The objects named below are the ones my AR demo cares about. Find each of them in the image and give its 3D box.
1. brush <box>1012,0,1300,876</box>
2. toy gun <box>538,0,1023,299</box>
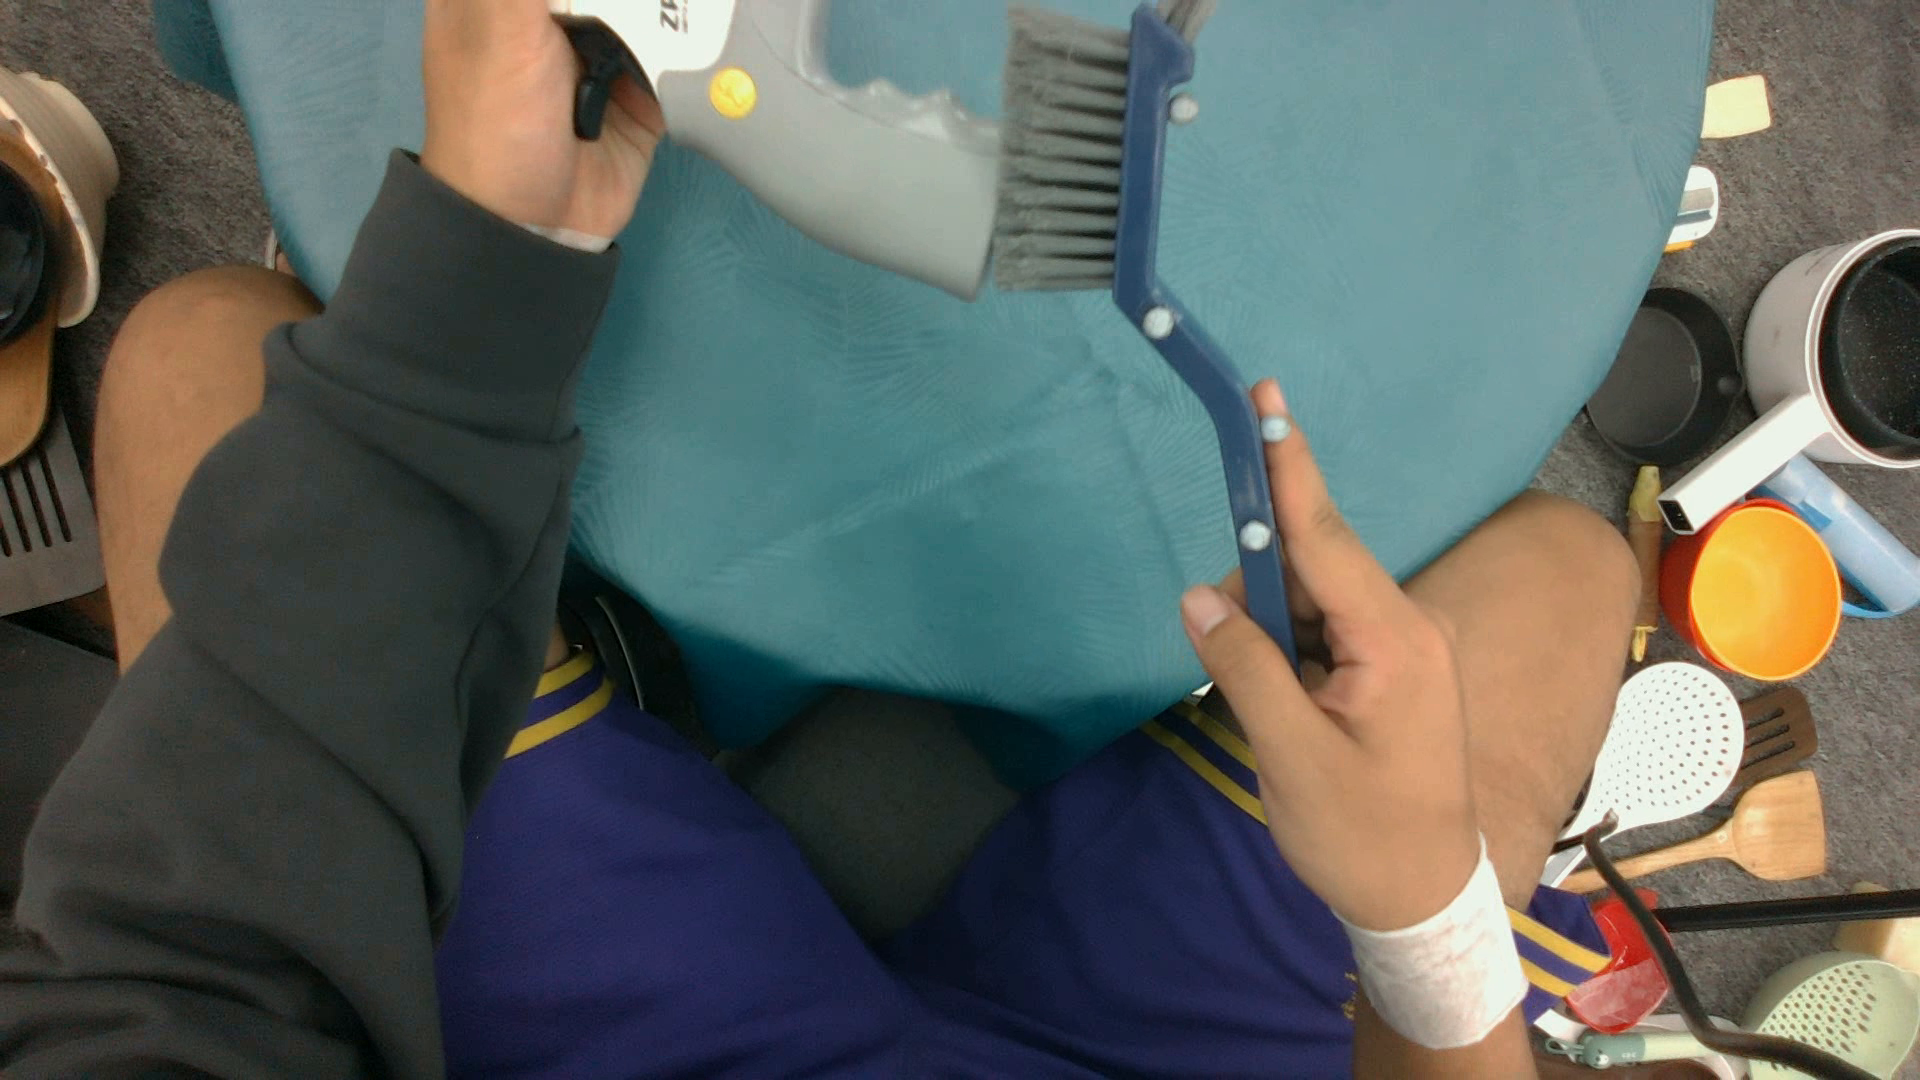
[{"bbox_3d":[0.085,-0.031,0.393,0.095,0.033,0.272,-18,107,11],"label":"brush"},{"bbox_3d":[-0.050,-0.176,0.388,0.141,0.039,0.208,3,101,5],"label":"toy gun"}]
